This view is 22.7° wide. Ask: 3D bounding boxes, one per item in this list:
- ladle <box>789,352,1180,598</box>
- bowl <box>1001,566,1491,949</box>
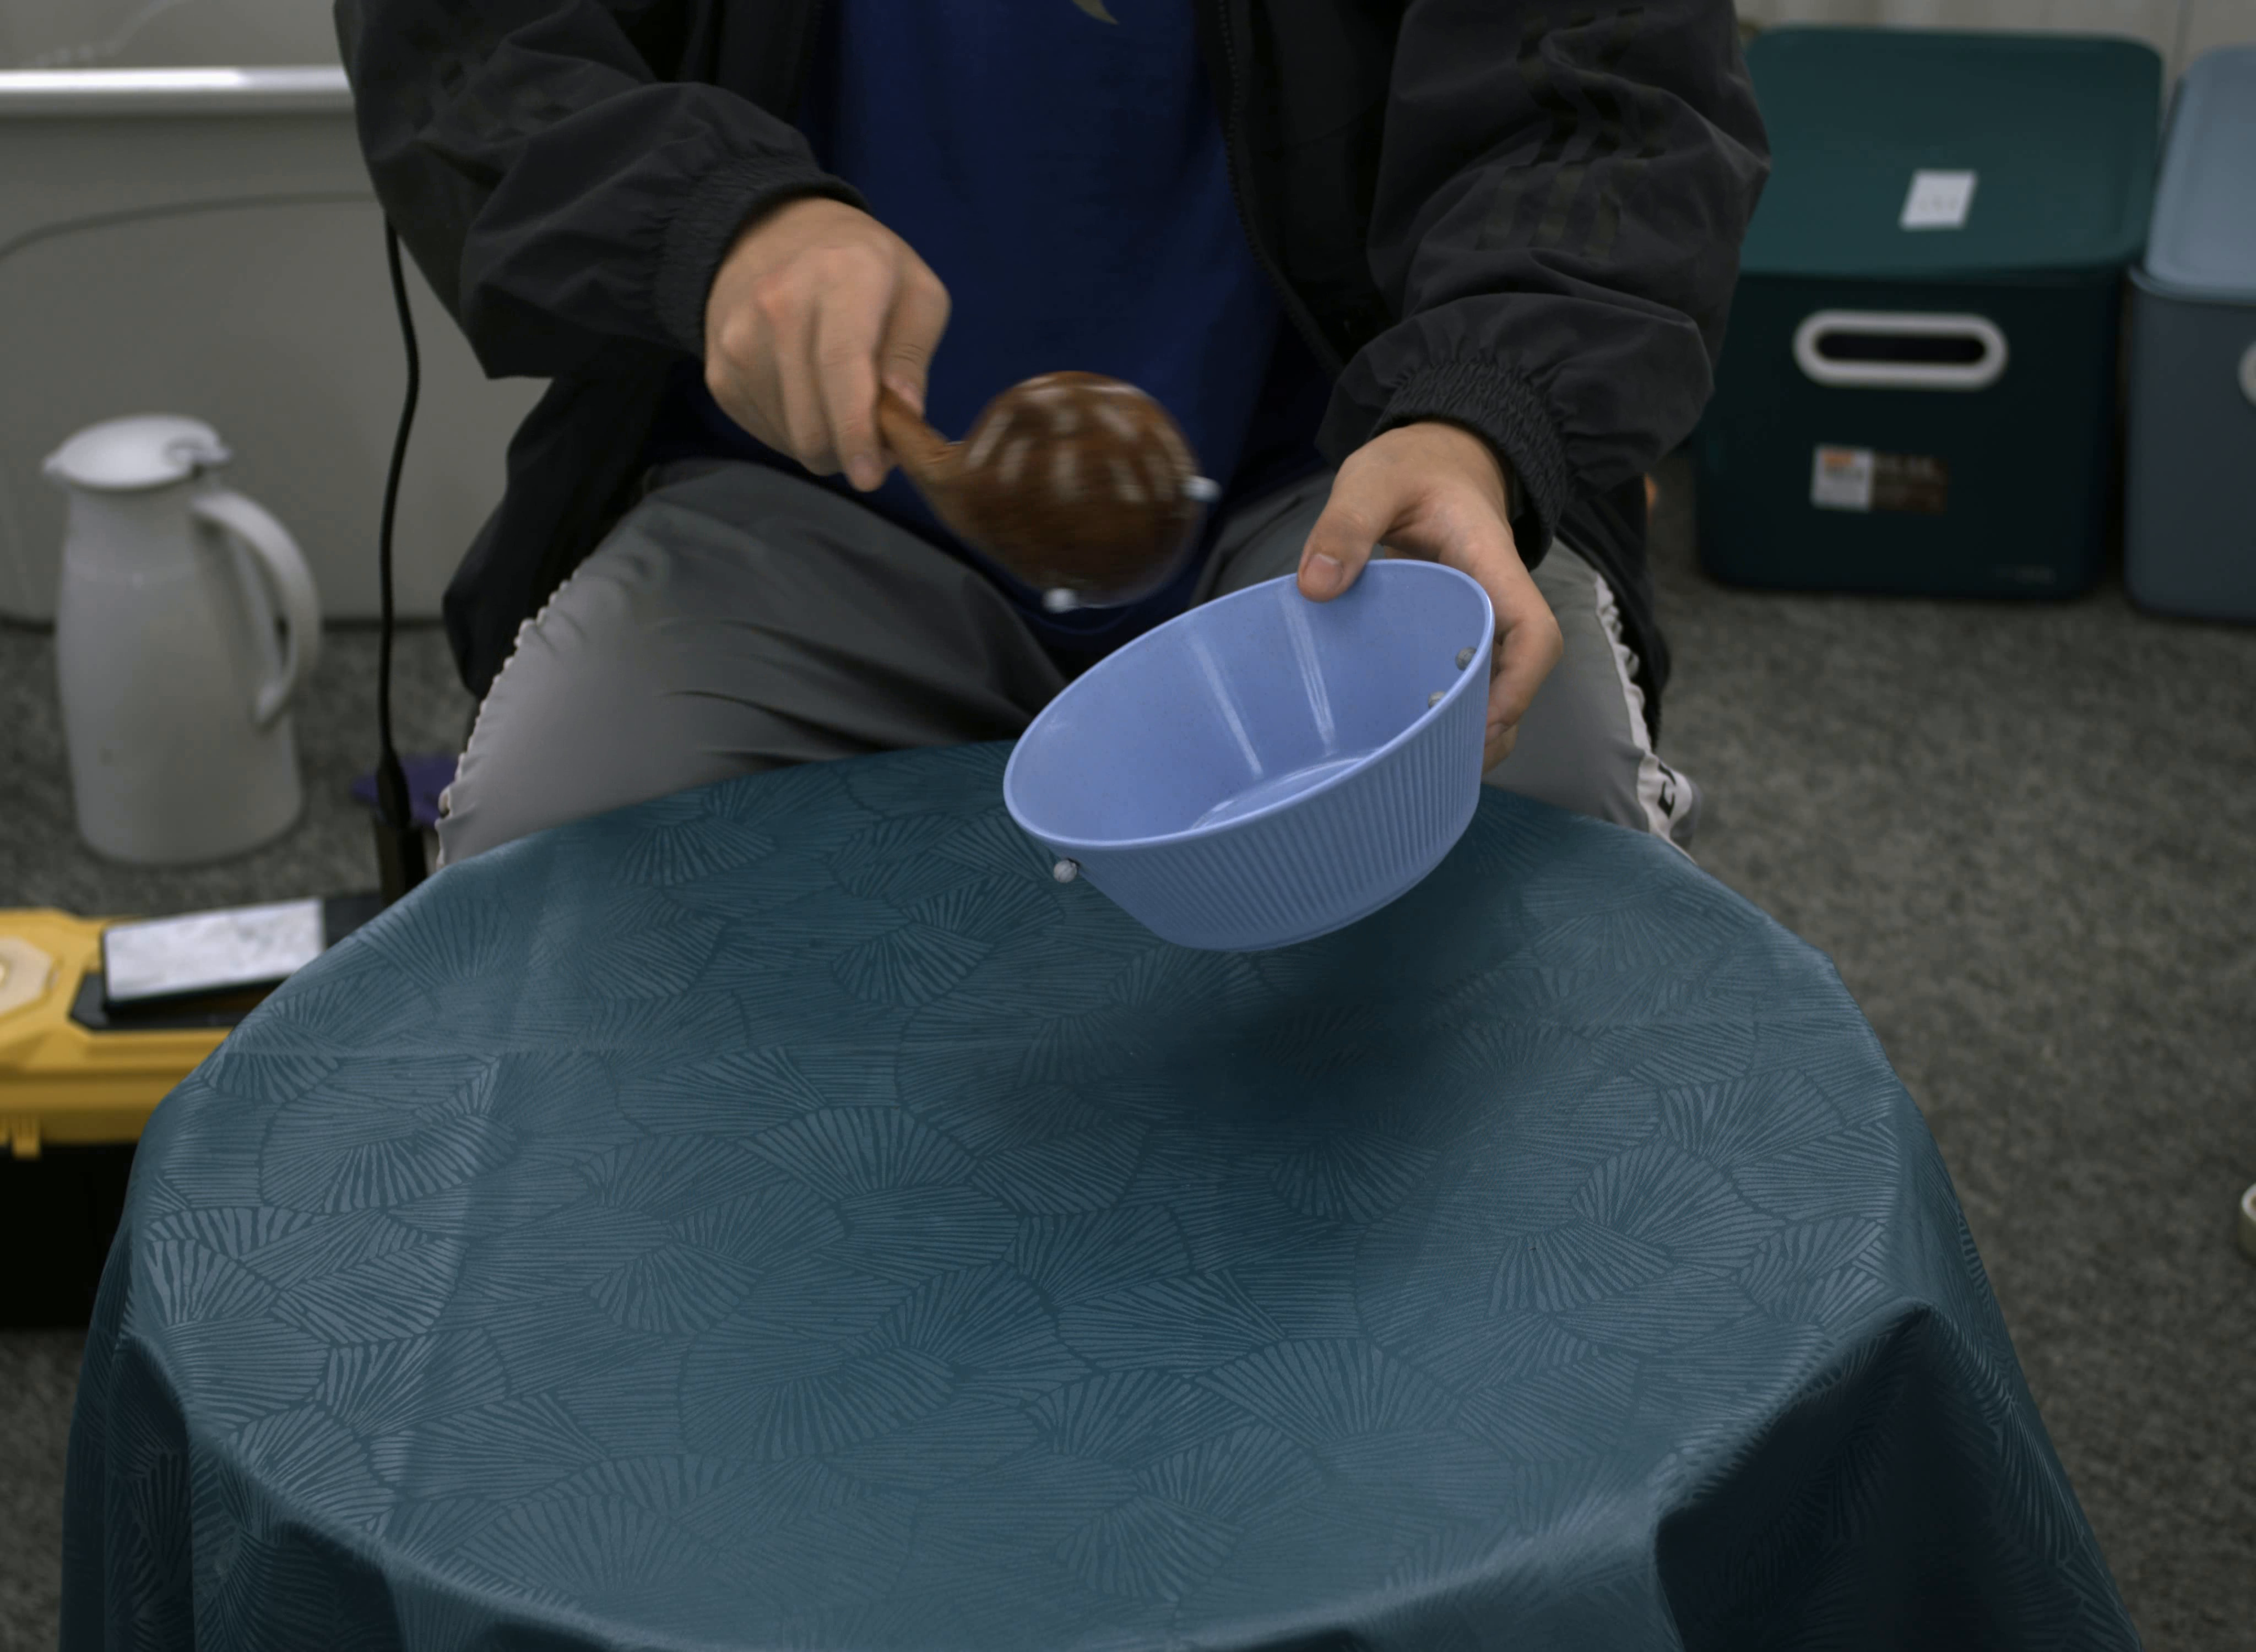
[{"bbox_3d":[-0.052,-0.139,1.932,0.076,0.081,0.275,-12,17,-12],"label":"ladle"},{"bbox_3d":[0.050,-0.016,1.892,0.175,0.070,0.178,-19,23,9],"label":"bowl"}]
